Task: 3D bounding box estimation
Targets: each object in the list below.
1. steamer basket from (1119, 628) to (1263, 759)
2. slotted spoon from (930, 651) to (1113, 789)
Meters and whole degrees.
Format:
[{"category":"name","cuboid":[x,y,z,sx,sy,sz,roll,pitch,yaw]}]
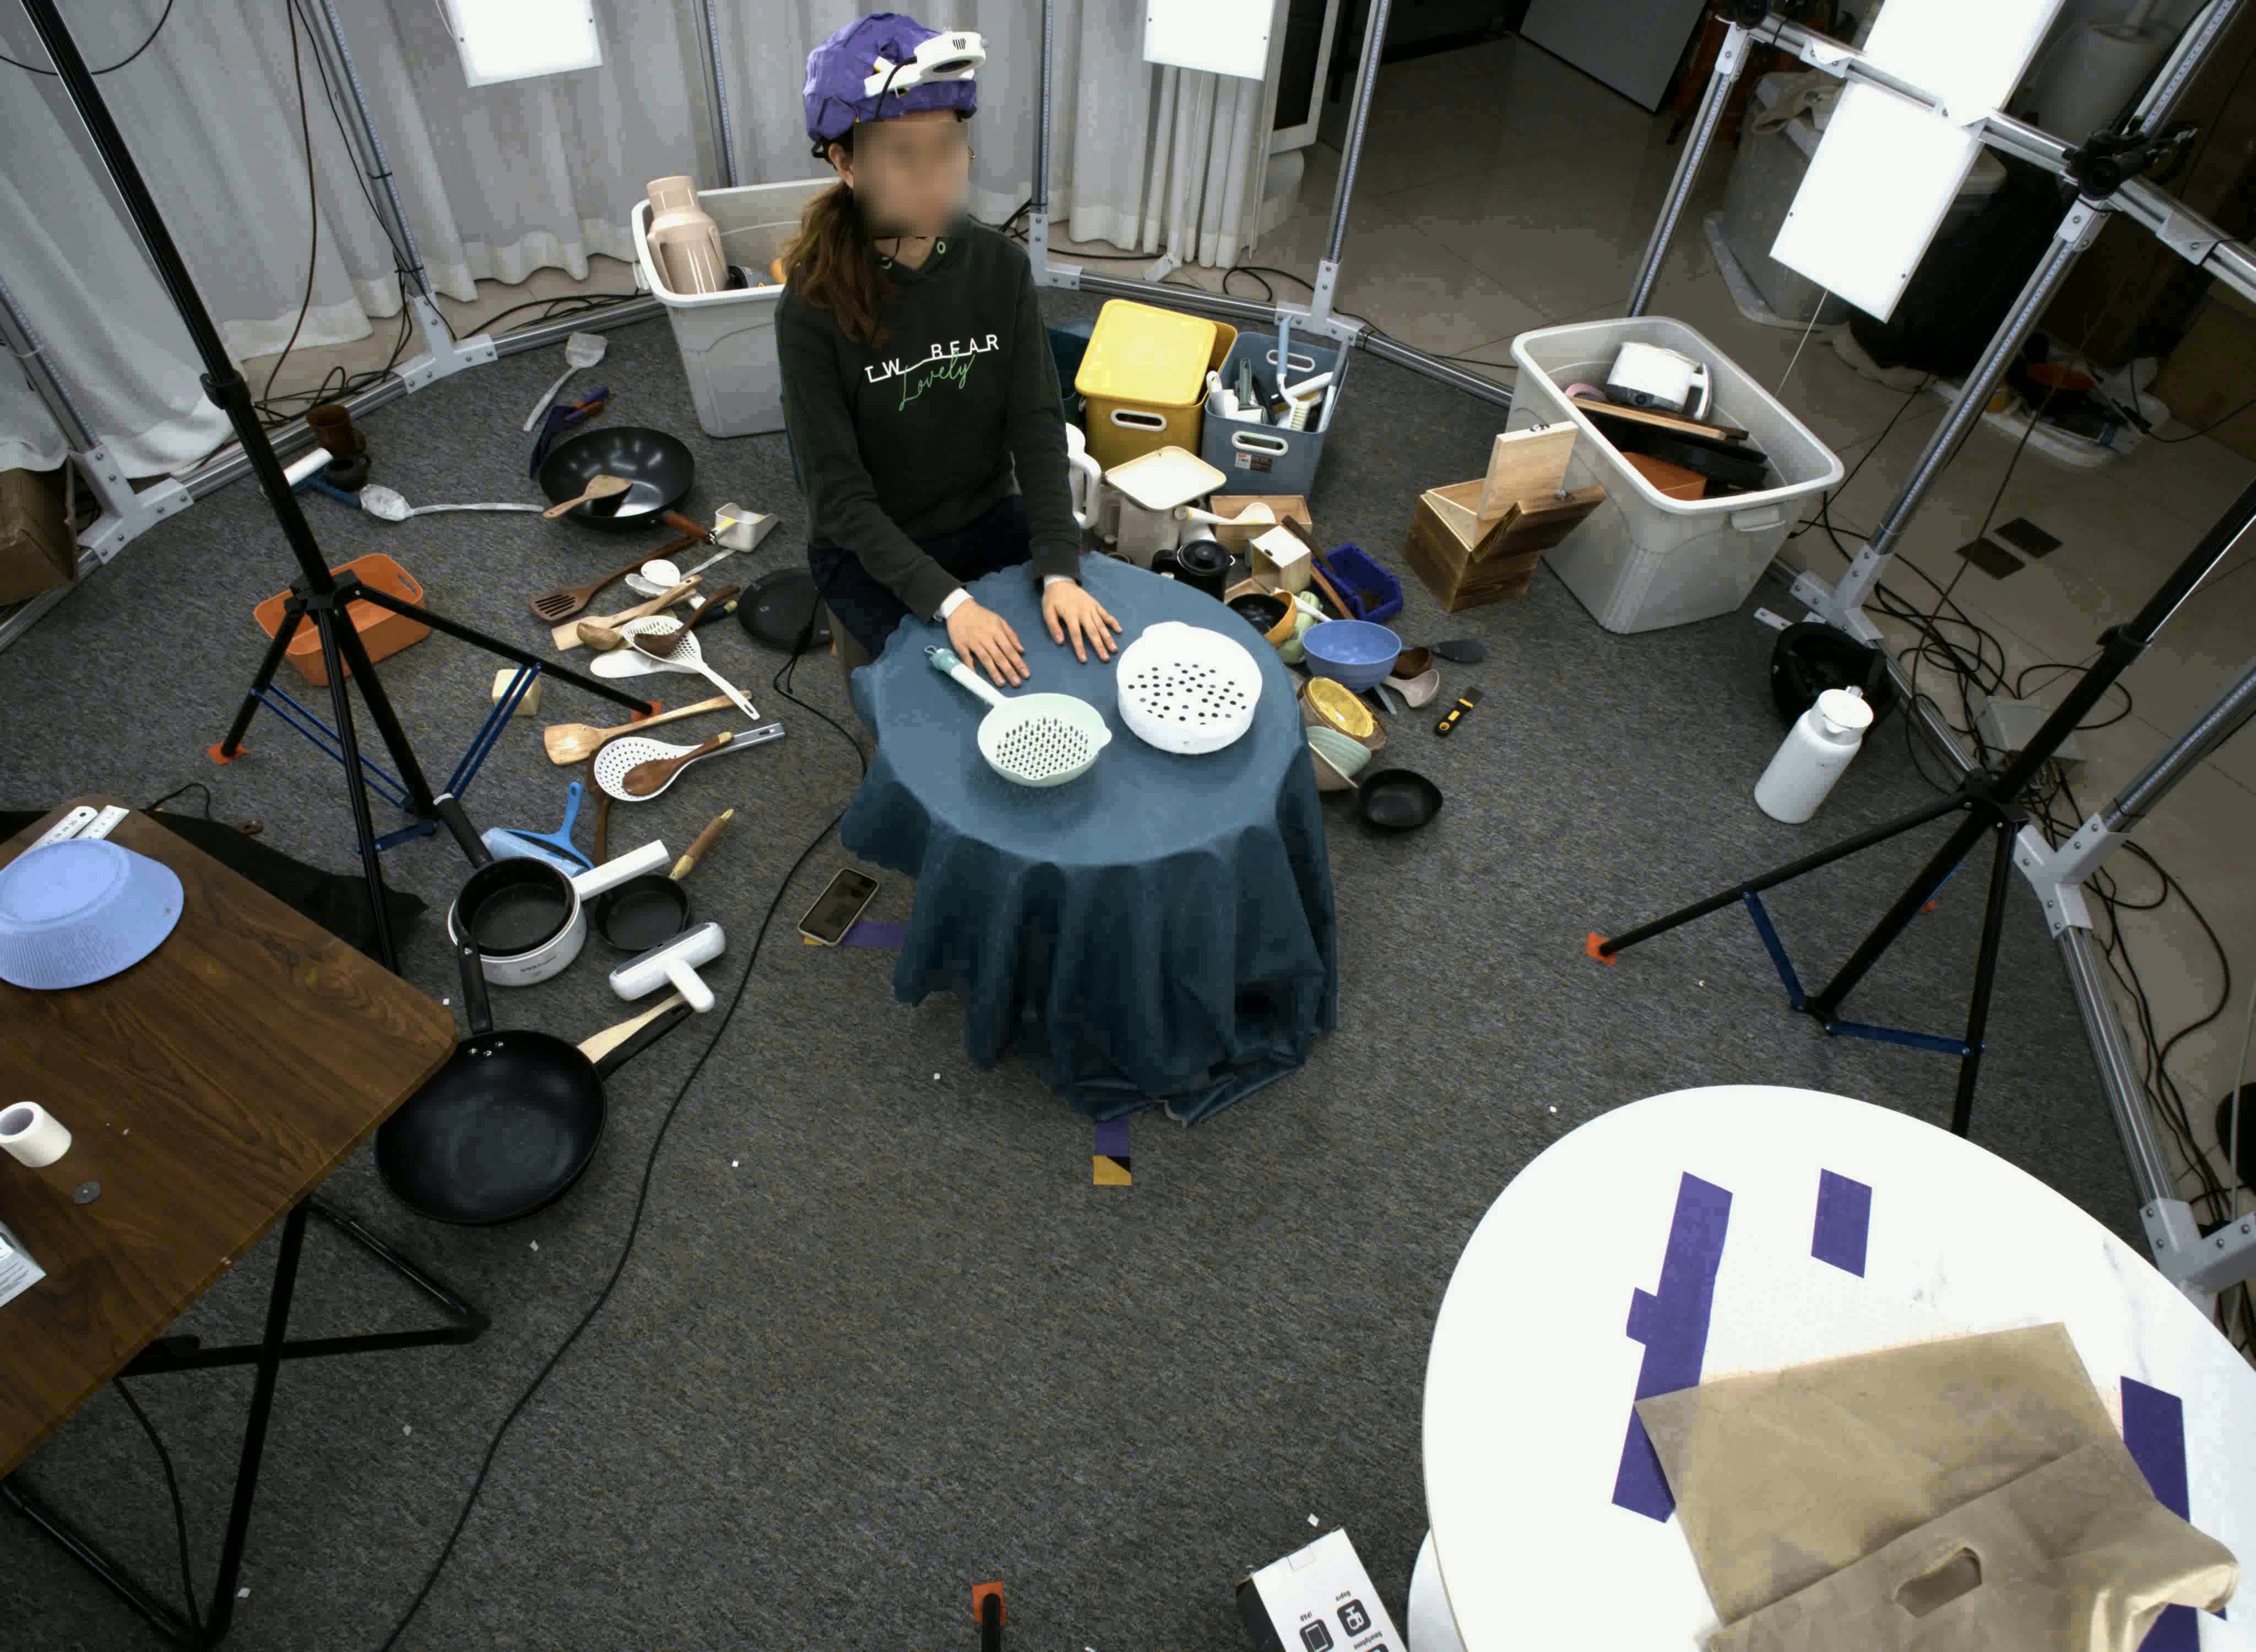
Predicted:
[{"category":"steamer basket","cuboid":[0.086,-0.183,1.808,0.202,0.067,0.236,-12,50,-16]},{"category":"slotted spoon","cuboid":[-0.174,-0.164,1.775,0.170,0.073,0.365,-29,56,-27]}]
